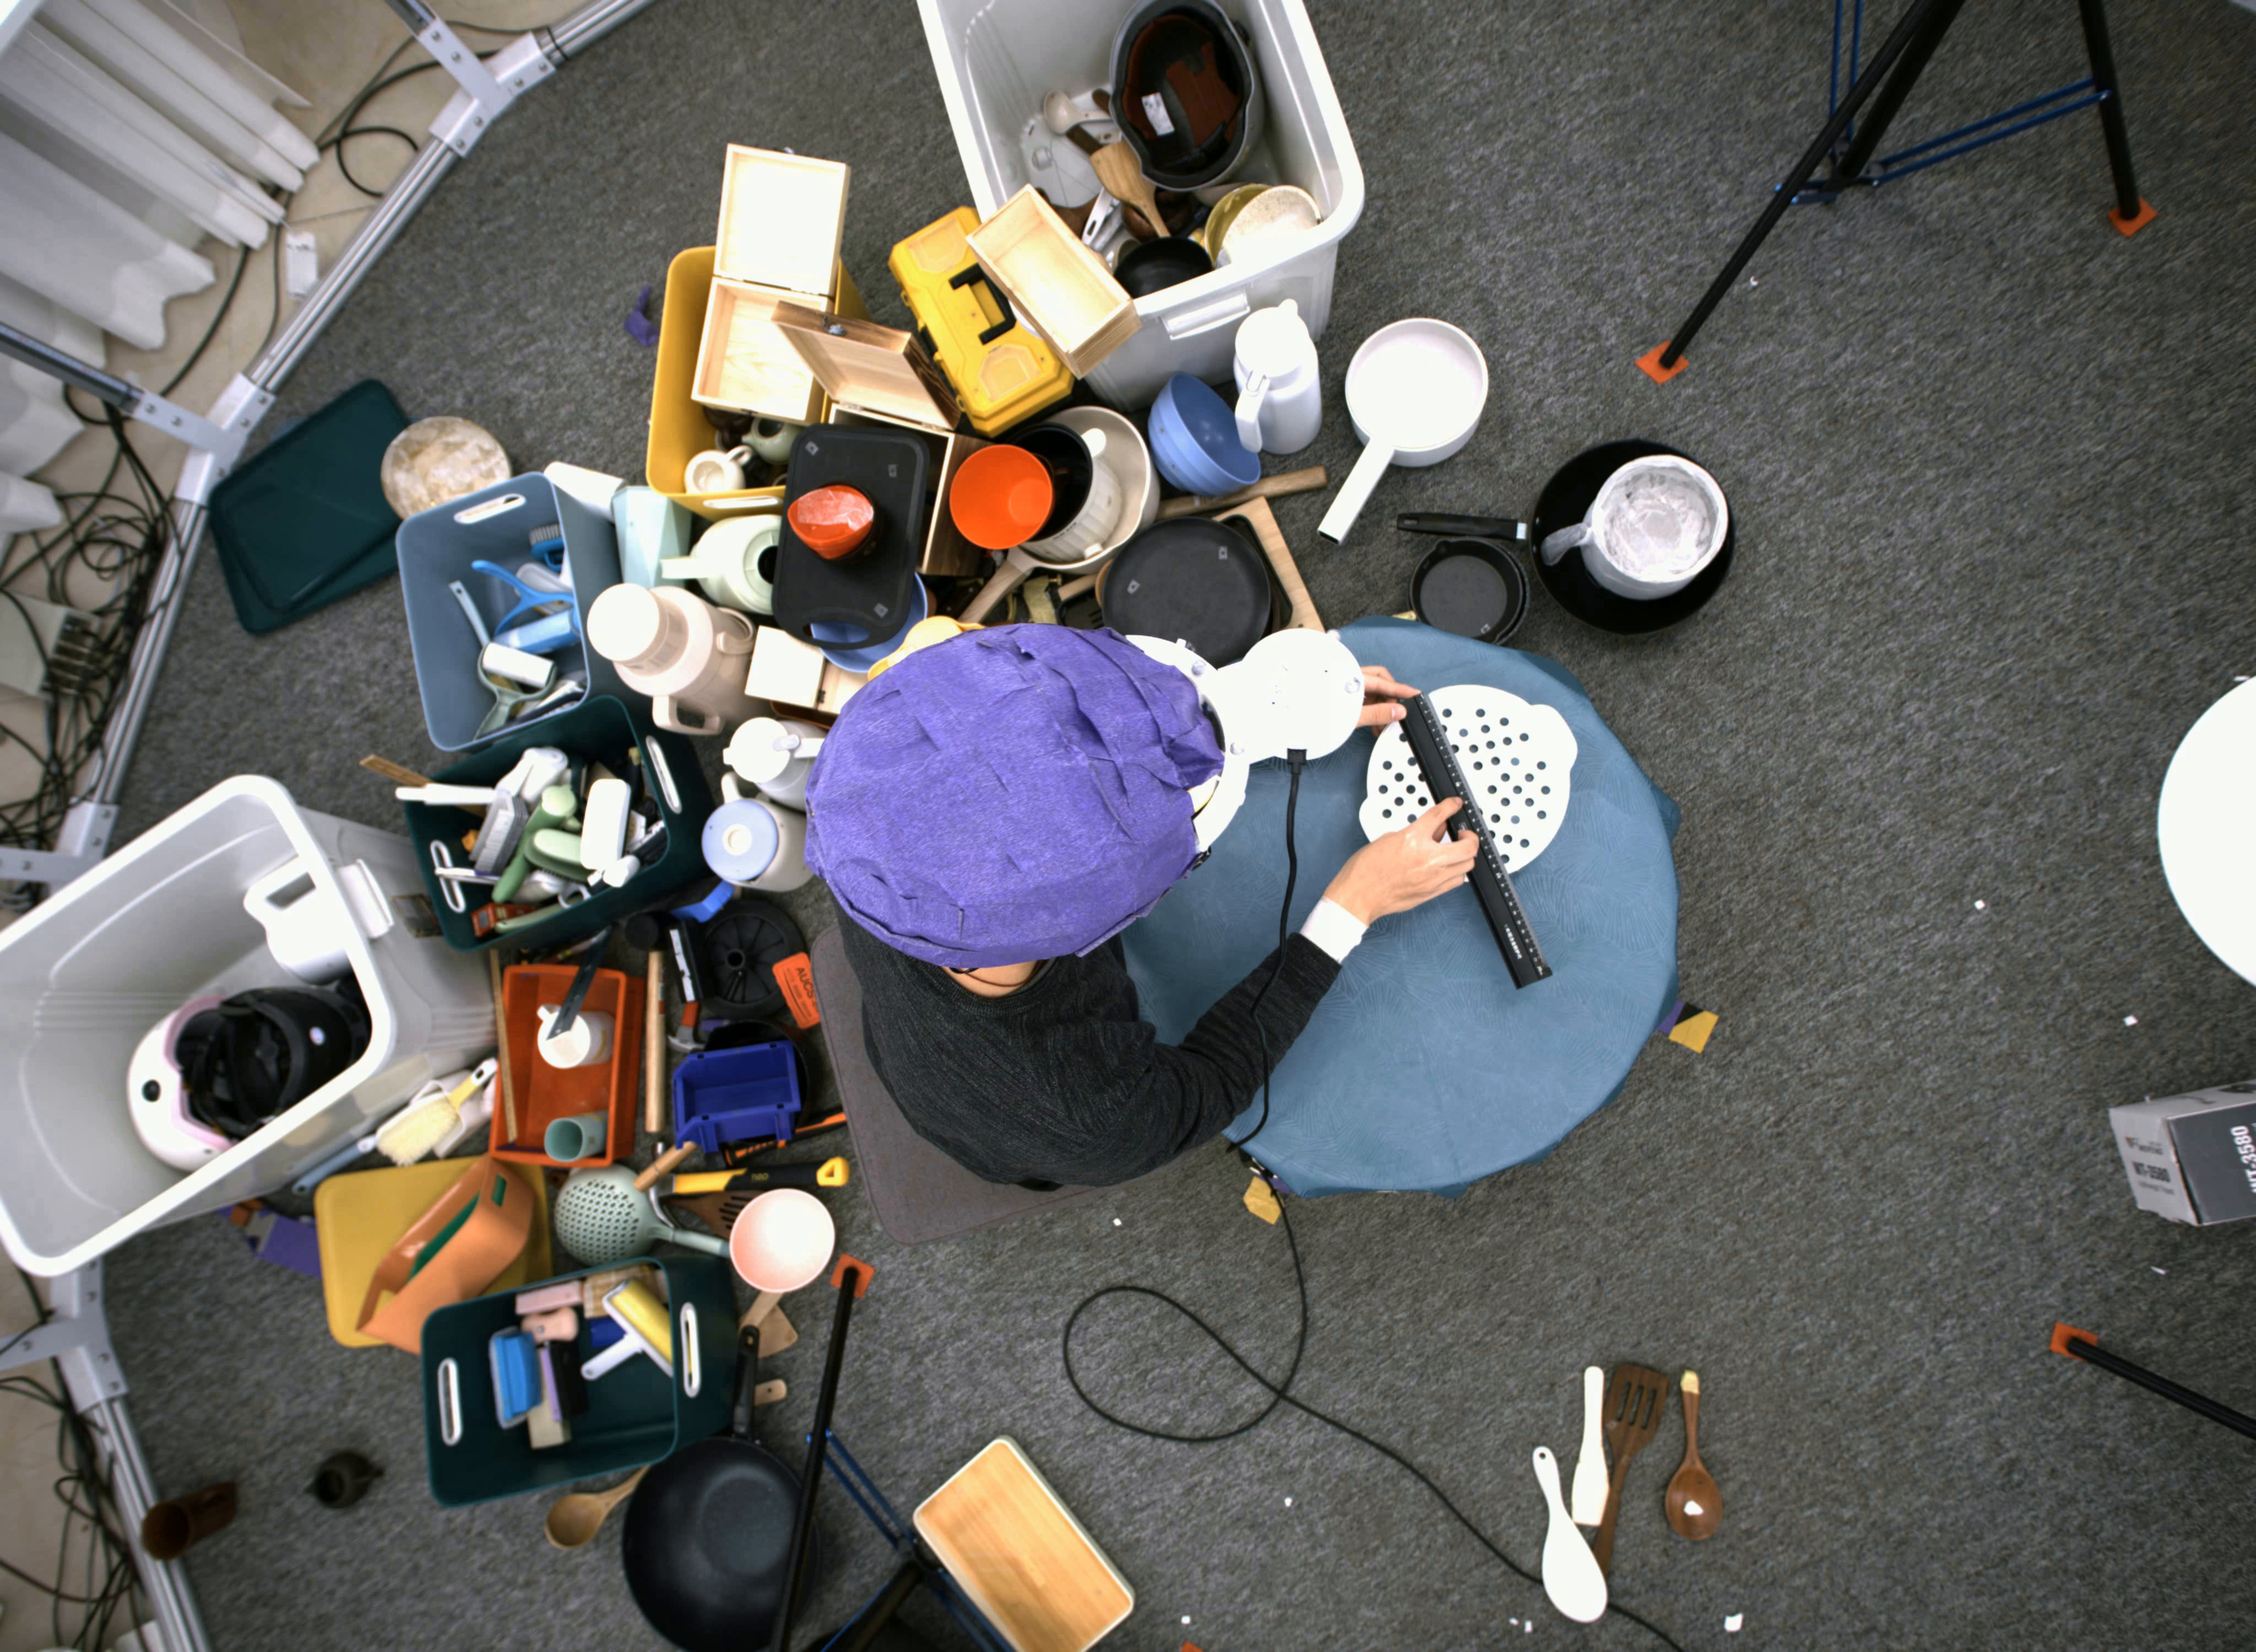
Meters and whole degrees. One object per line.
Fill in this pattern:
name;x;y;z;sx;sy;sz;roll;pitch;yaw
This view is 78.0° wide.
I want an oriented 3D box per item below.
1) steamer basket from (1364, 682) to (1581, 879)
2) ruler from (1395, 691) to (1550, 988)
steamer basket;0.352;-0.046;1.416;0.231;0.069;0.200;-30;81;5
ruler;0.344;0.009;1.372;0.039;0.017;0.310;-23;83;10
